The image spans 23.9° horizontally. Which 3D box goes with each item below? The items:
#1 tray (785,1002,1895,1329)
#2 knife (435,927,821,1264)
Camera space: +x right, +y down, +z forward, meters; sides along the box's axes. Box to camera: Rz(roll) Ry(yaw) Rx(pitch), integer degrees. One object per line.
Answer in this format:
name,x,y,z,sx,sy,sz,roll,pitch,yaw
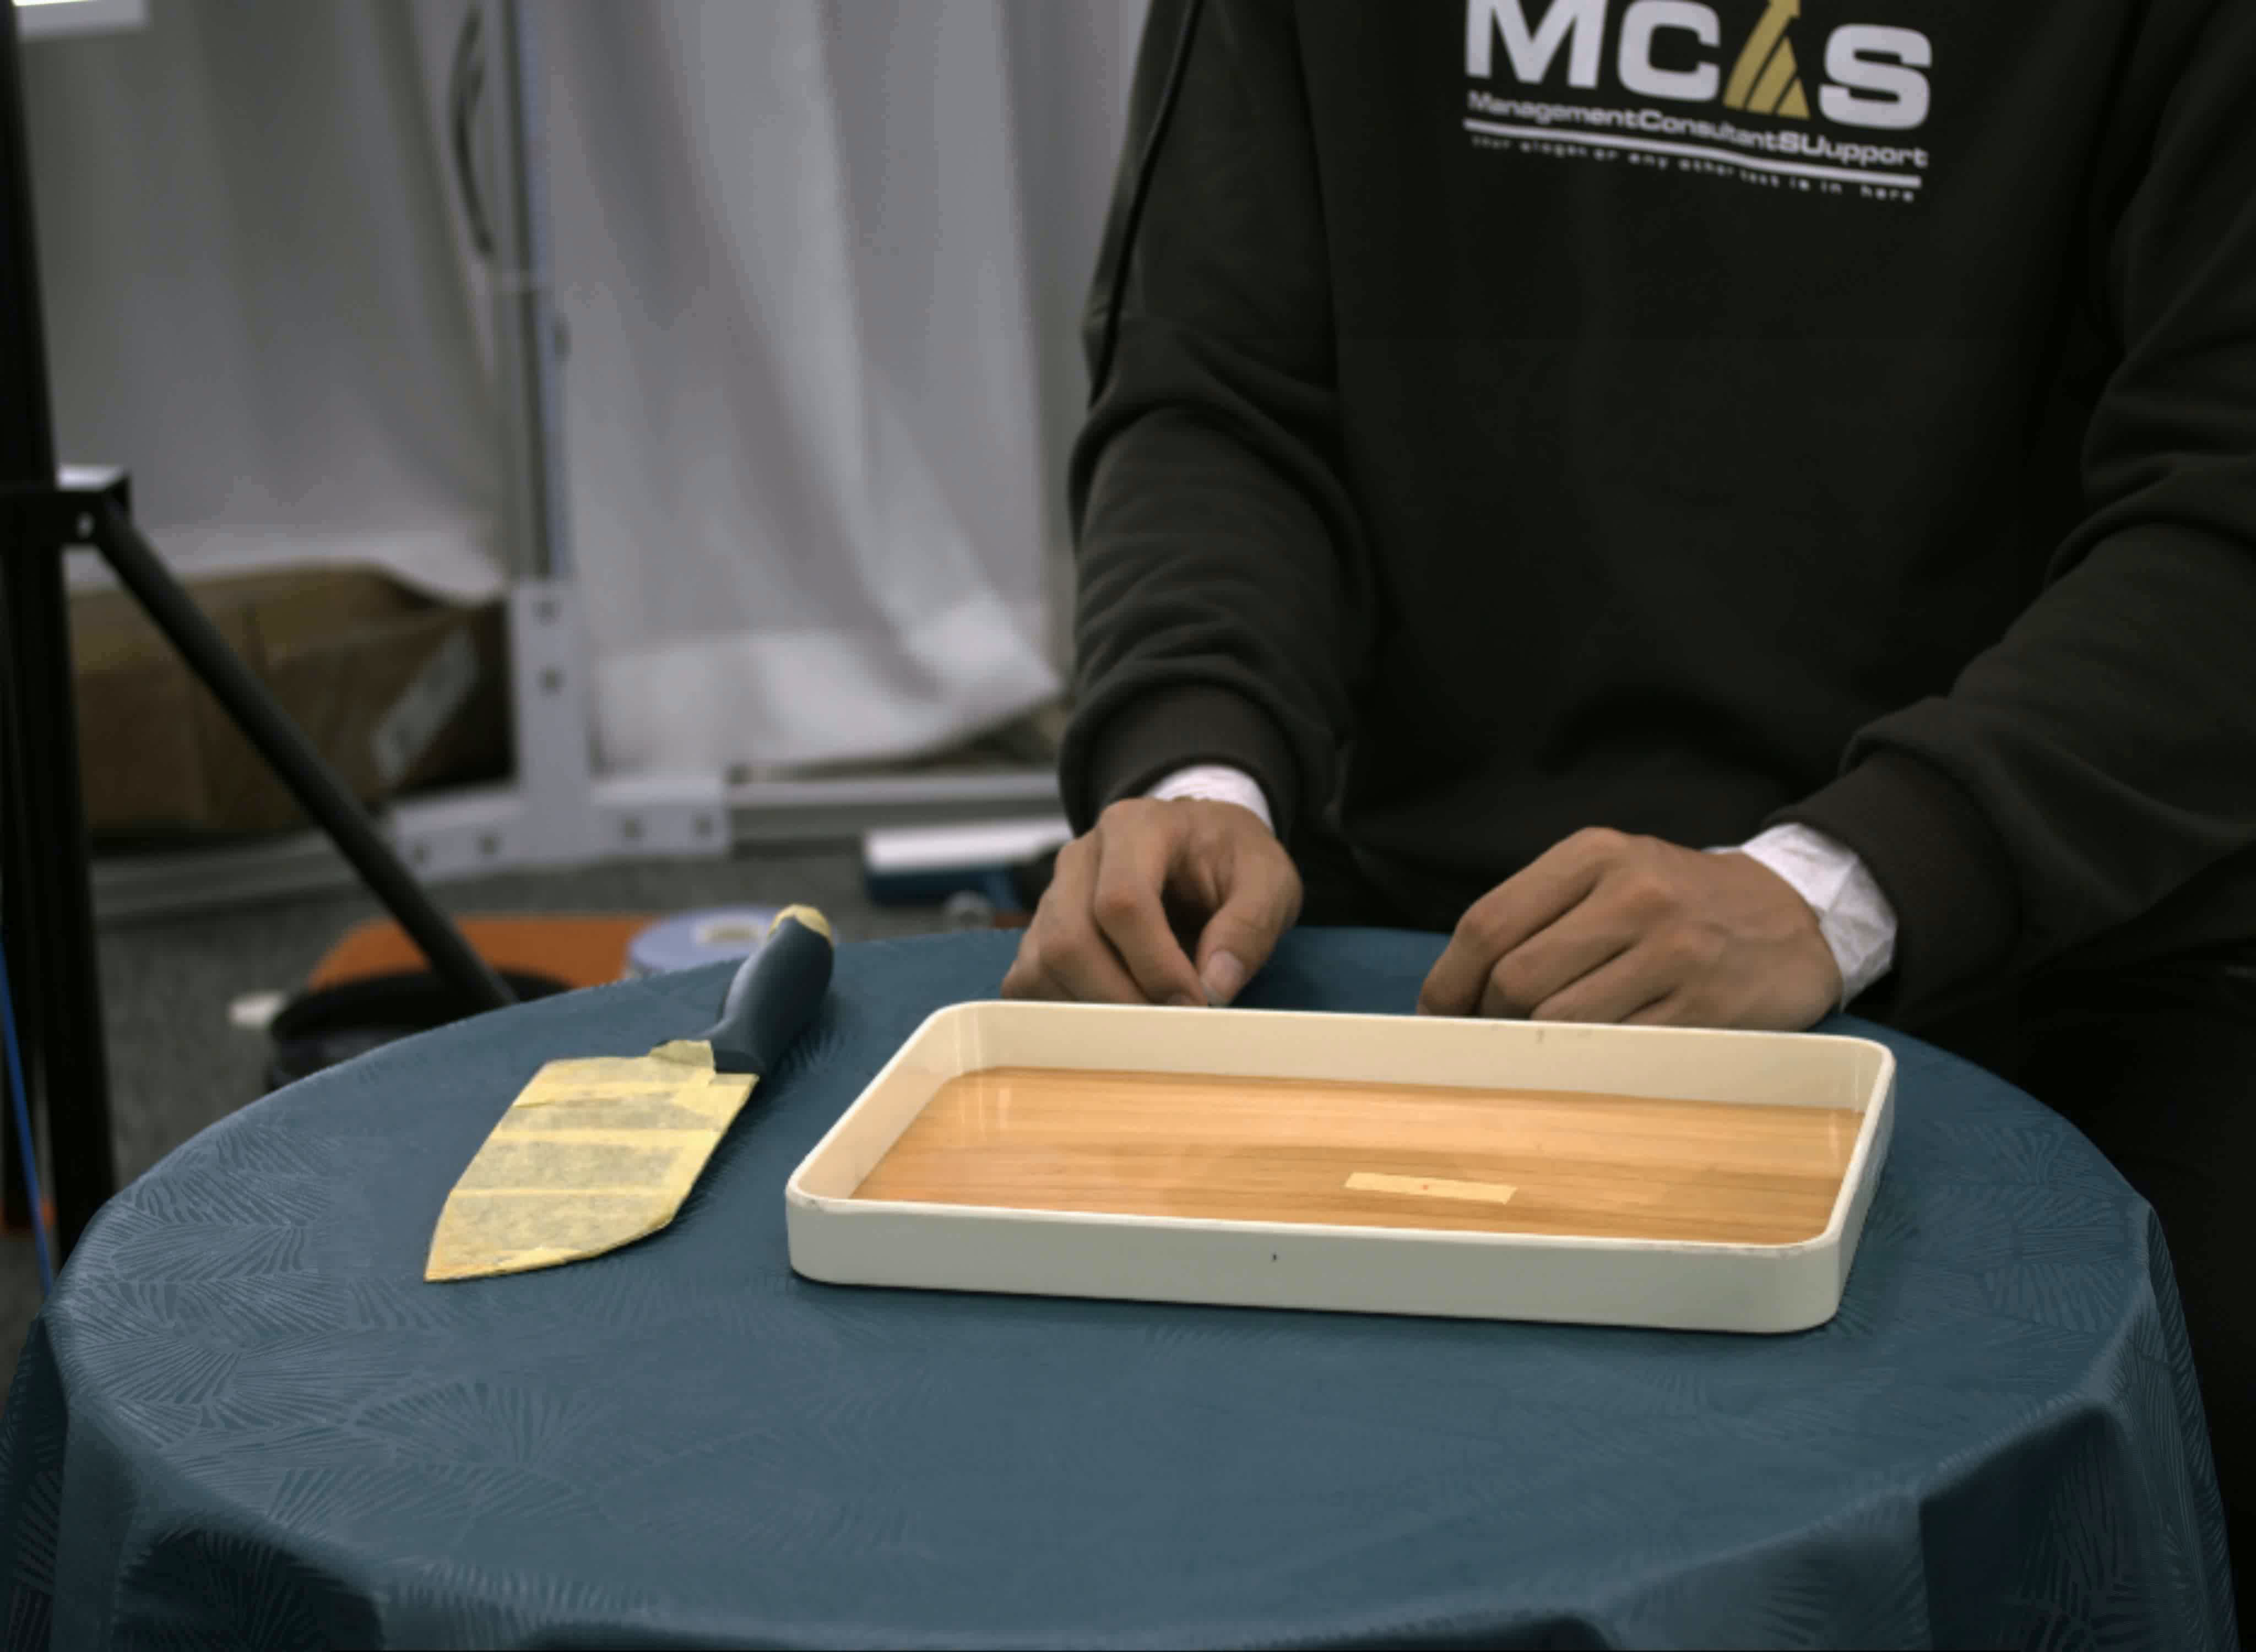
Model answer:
tray,0.066,0.097,1.544,0.302,0.027,0.190,2,15,15
knife,-0.149,0.083,1.647,0.081,0.027,0.288,3,17,12
